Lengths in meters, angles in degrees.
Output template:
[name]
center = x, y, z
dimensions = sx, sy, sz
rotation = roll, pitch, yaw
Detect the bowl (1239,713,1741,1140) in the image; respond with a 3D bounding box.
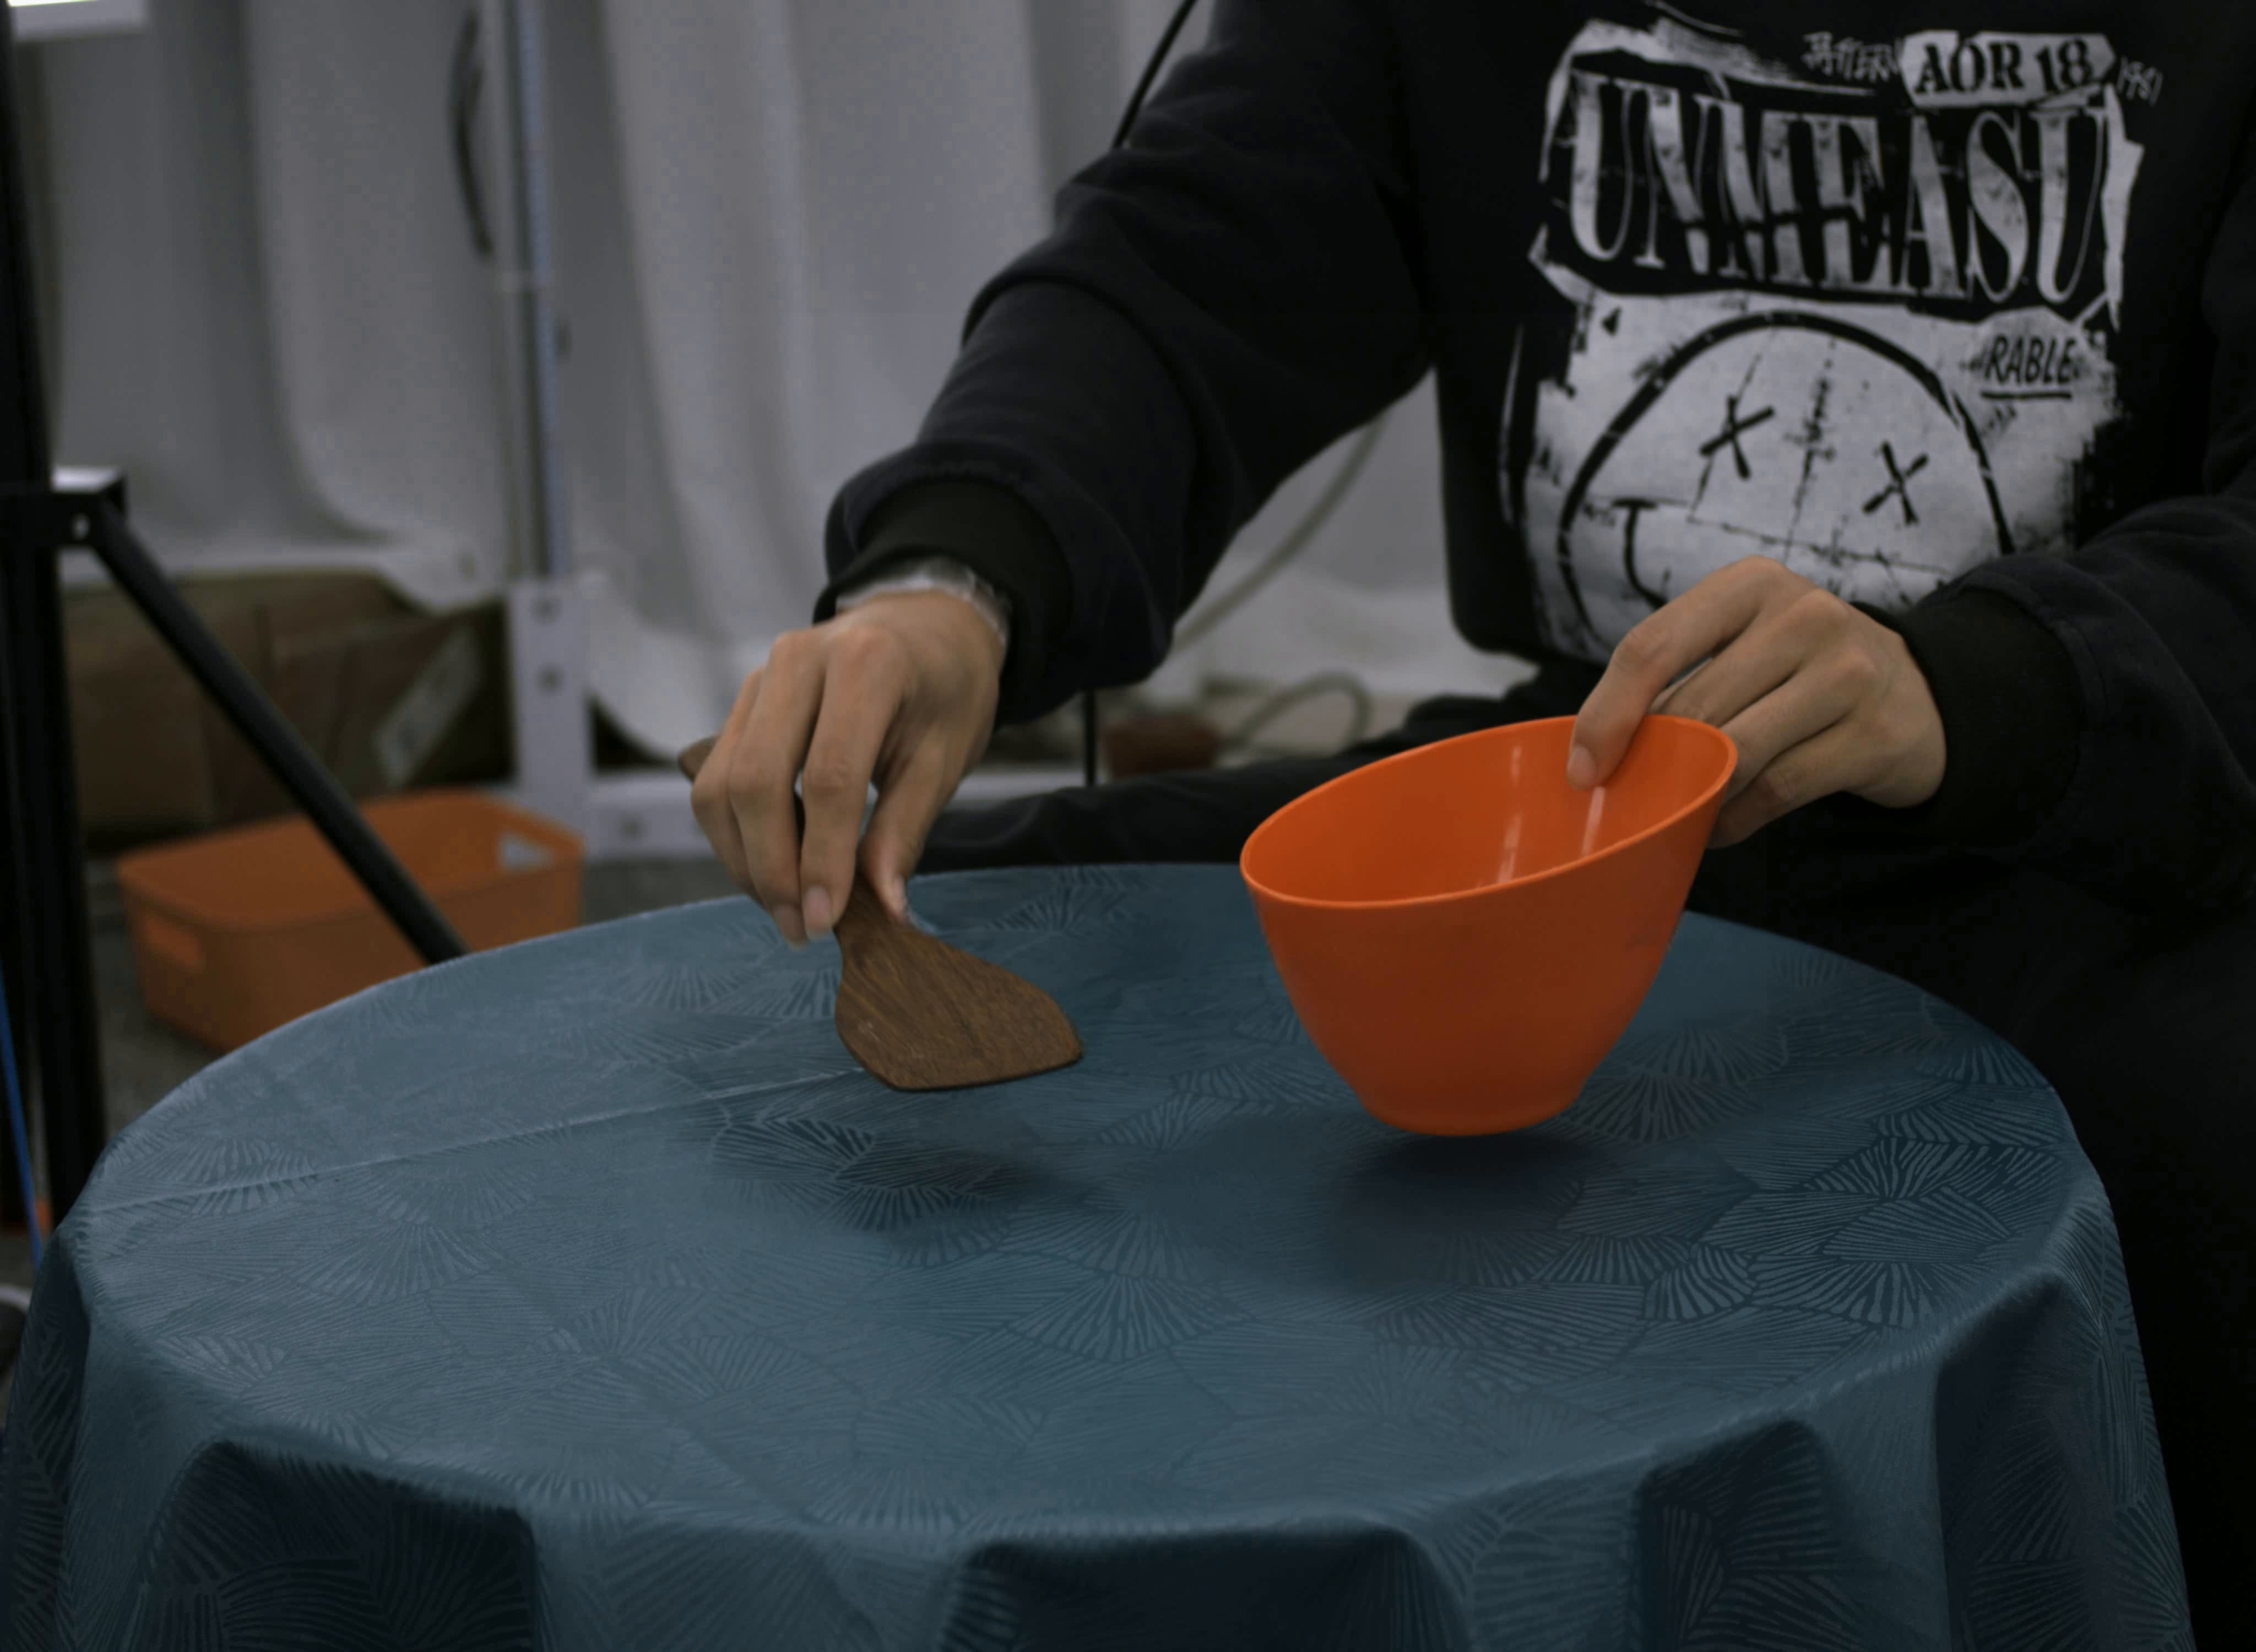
[bowl]
center = 0.107, 0.033, 1.554
dimensions = 0.147, 0.104, 0.149
rotation = -6, 21, 1

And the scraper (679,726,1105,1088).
[scraper]
center = -0.084, 0.023, 1.627
dimensions = 0.074, 0.011, 0.216
rotation = -9, 34, -27
